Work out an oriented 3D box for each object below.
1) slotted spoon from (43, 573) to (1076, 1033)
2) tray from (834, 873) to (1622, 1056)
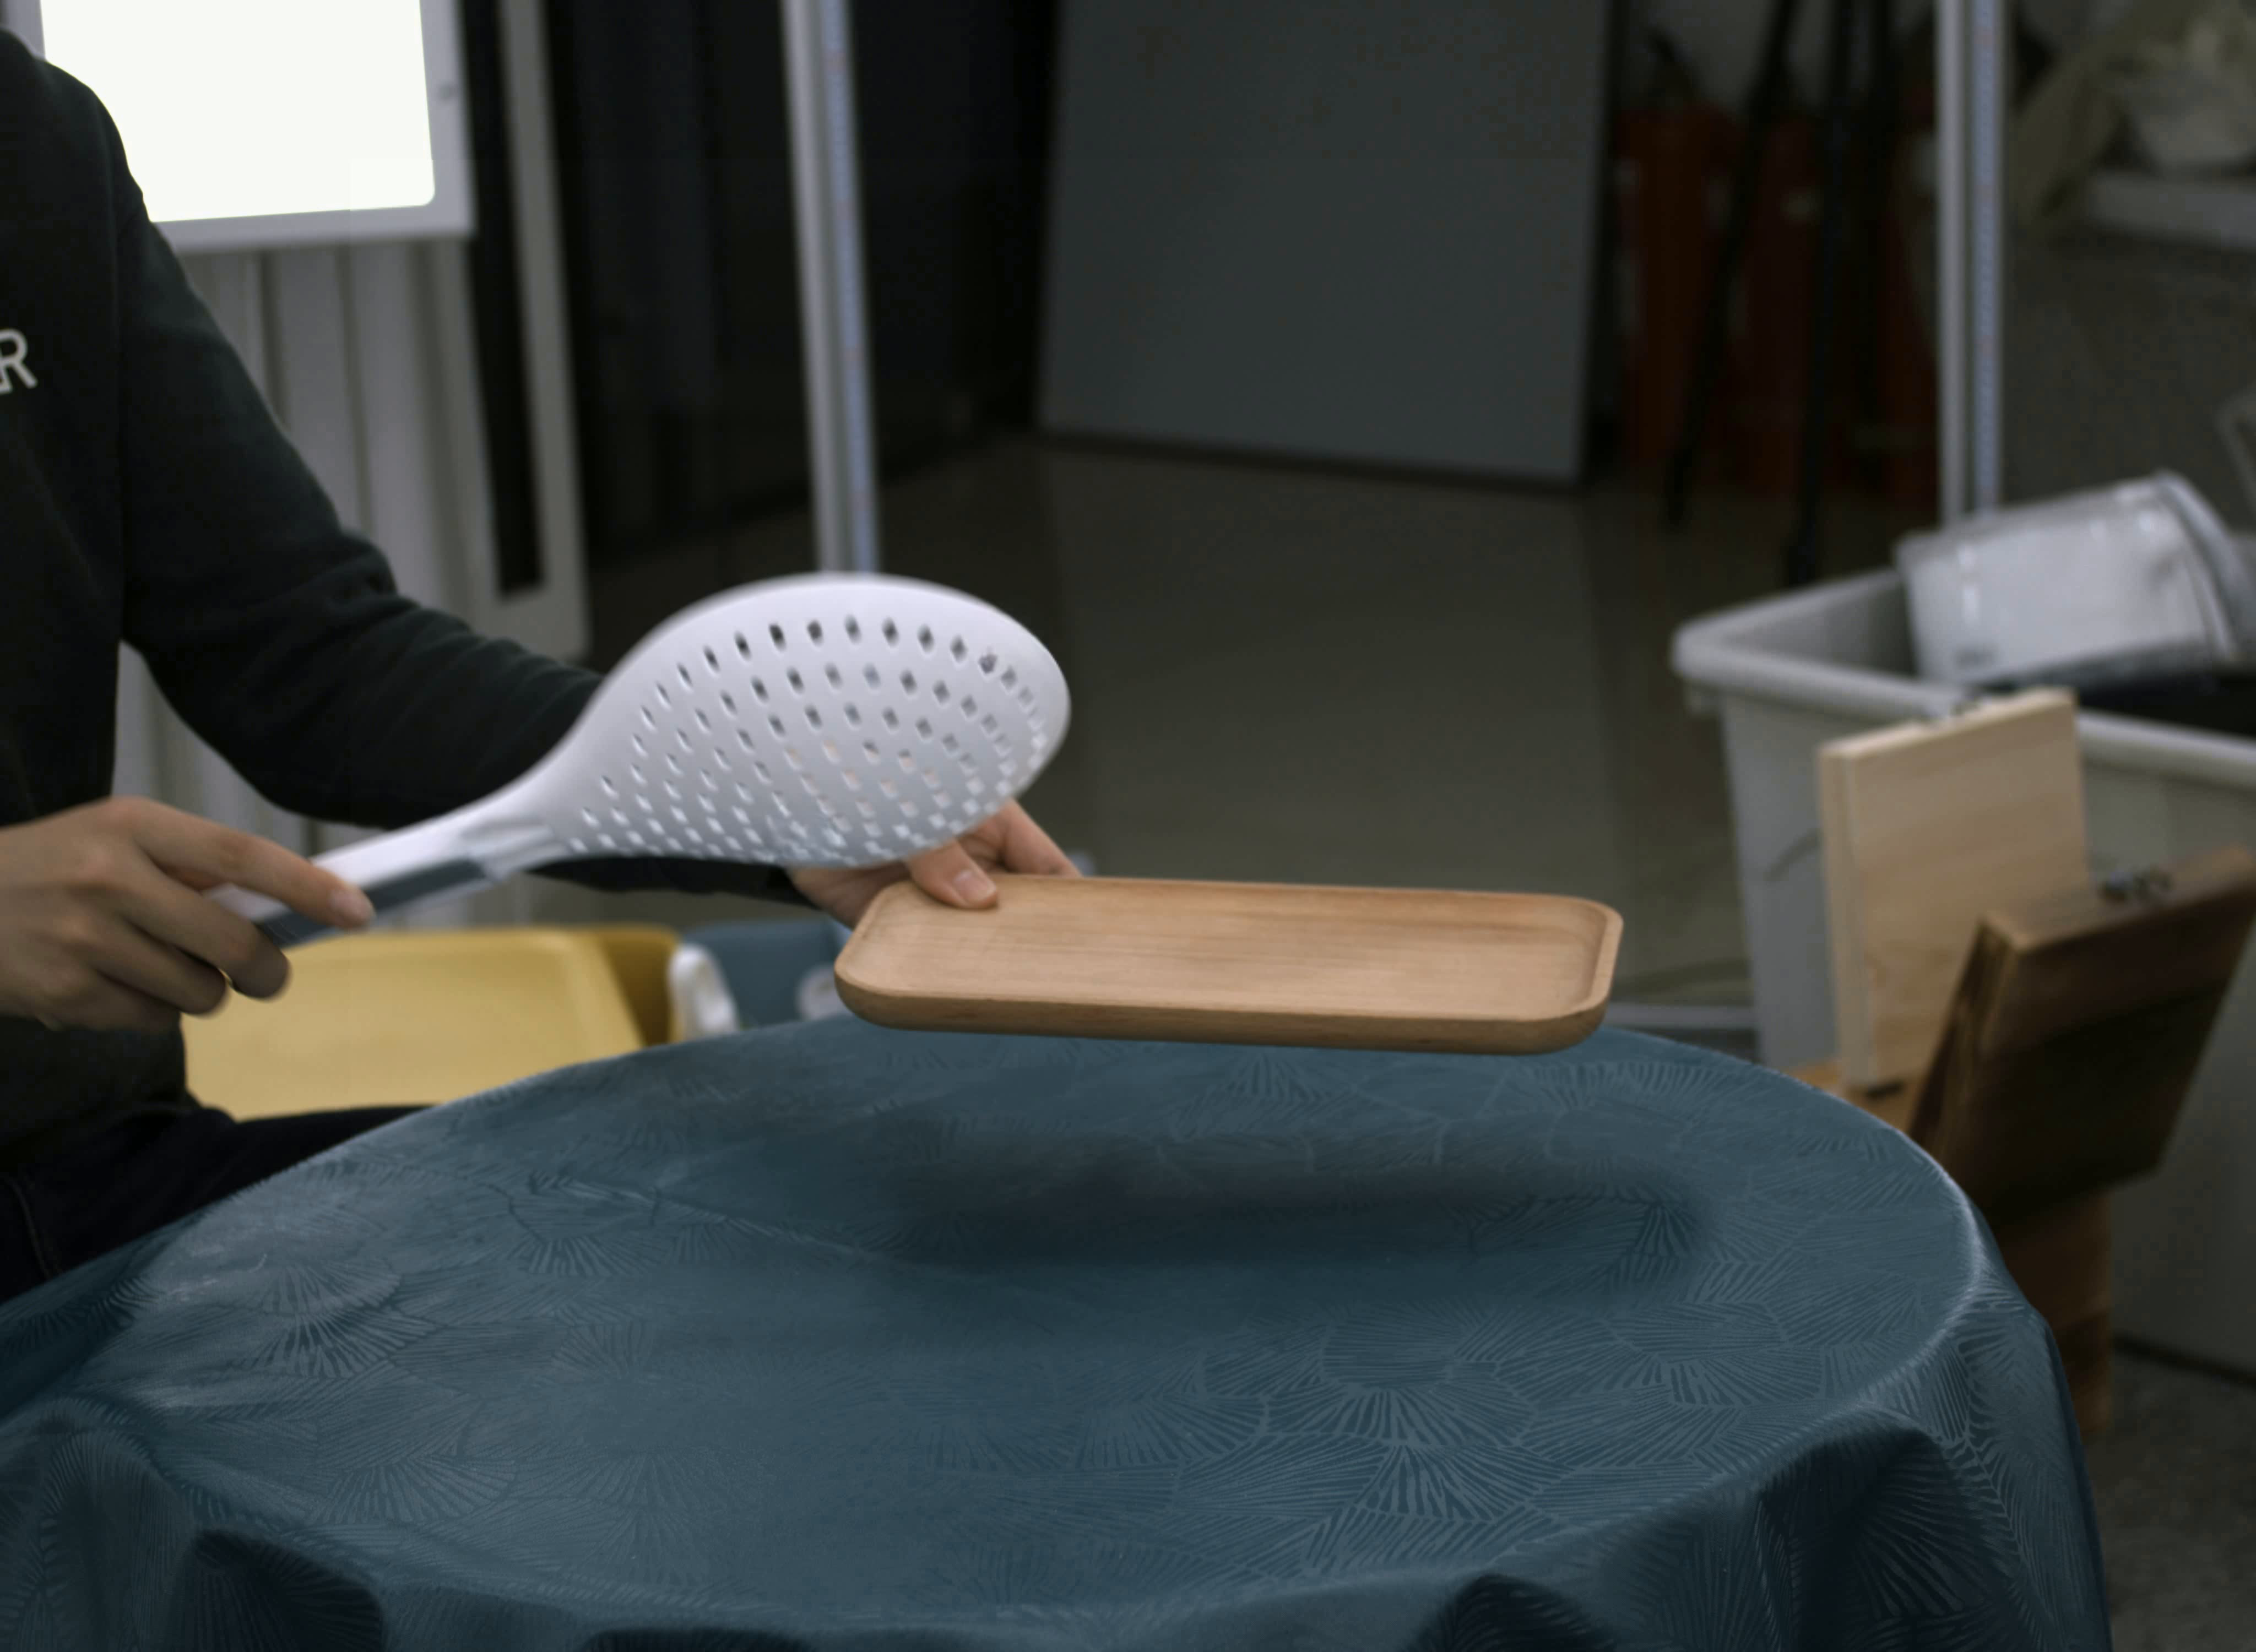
[{"bbox_3d":[-0.177,0.004,1.620,0.350,0.046,0.134,-14,-35,24],"label":"slotted spoon"},{"bbox_3d":[0.034,0.044,1.743,0.249,0.023,0.130,1,15,11],"label":"tray"}]
